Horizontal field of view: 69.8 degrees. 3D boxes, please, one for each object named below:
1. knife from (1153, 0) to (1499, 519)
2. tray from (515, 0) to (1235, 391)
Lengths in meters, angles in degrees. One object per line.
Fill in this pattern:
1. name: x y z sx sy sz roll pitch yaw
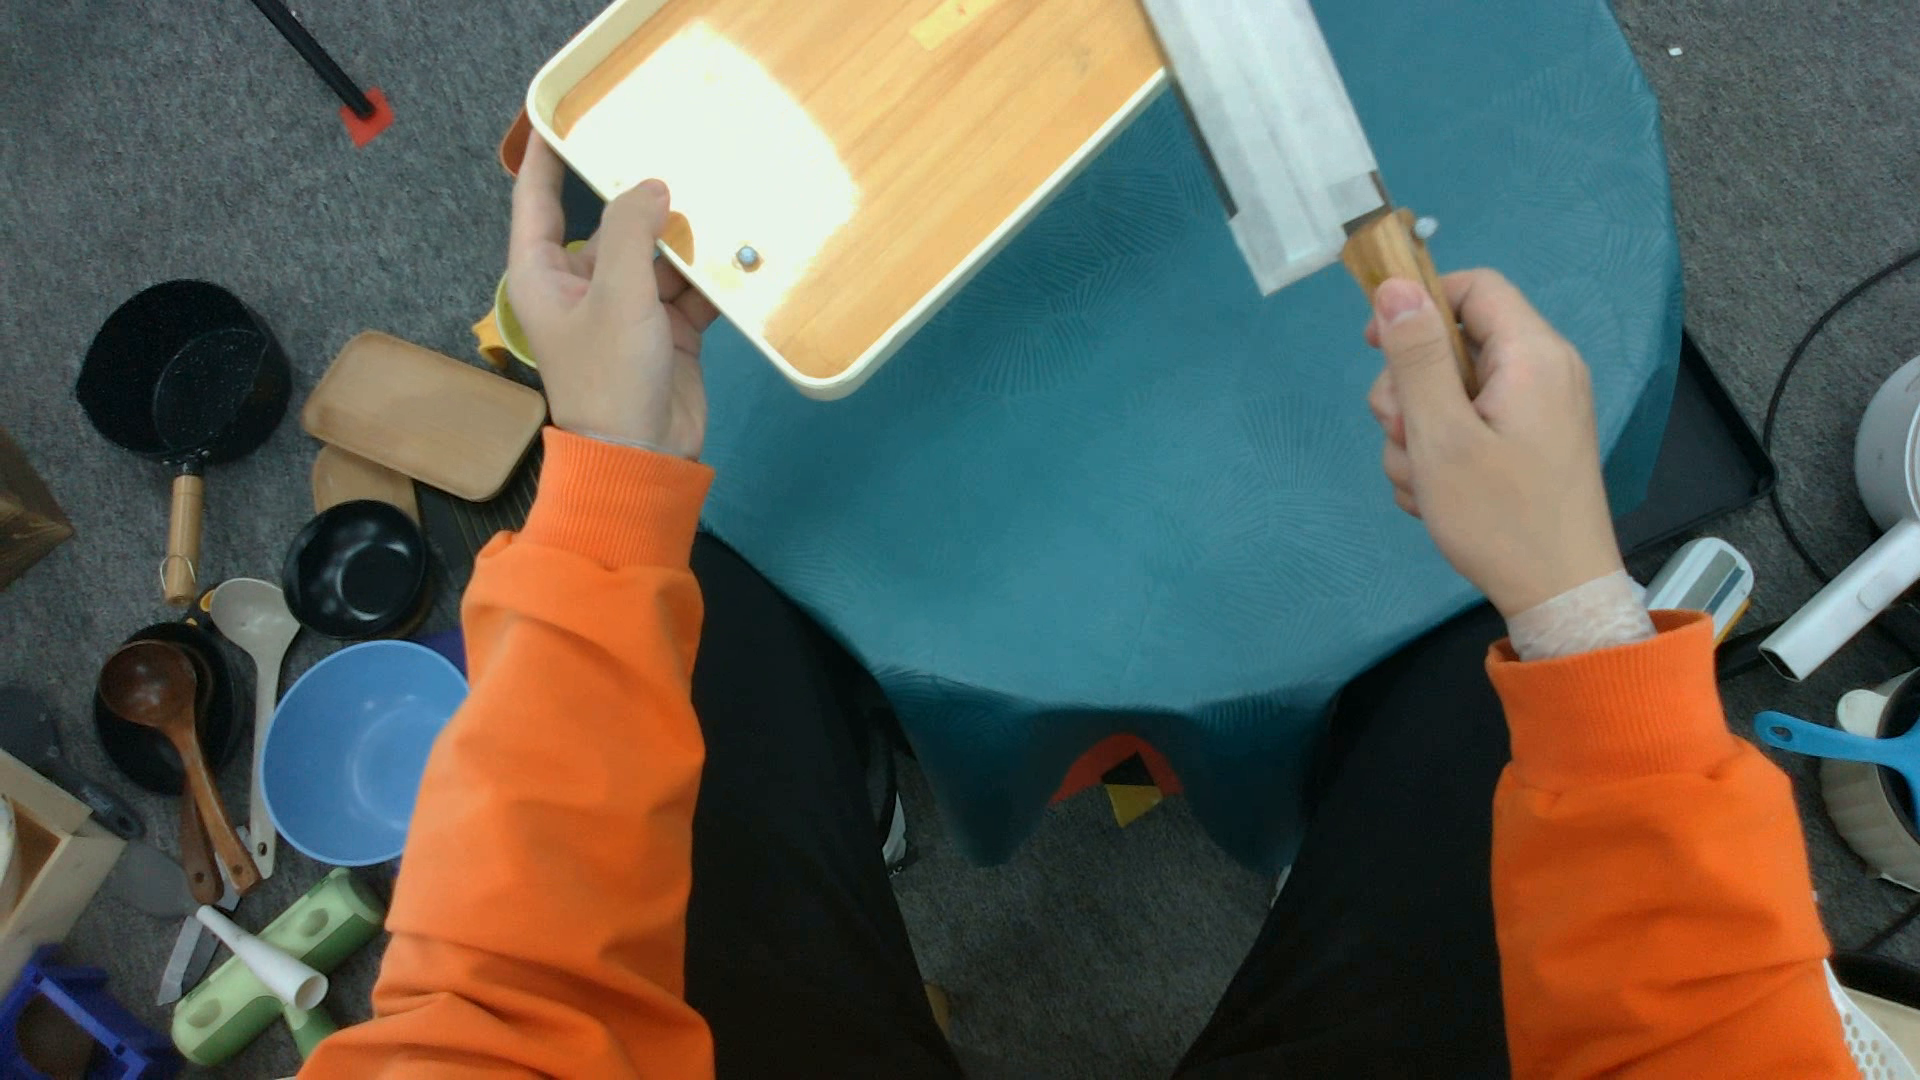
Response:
1. knife: 0.130 -0.148 0.546 0.021 0.092 0.305 -23 93 -23
2. tray: -0.026 -0.227 0.605 0.191 0.027 0.300 44 83 7
